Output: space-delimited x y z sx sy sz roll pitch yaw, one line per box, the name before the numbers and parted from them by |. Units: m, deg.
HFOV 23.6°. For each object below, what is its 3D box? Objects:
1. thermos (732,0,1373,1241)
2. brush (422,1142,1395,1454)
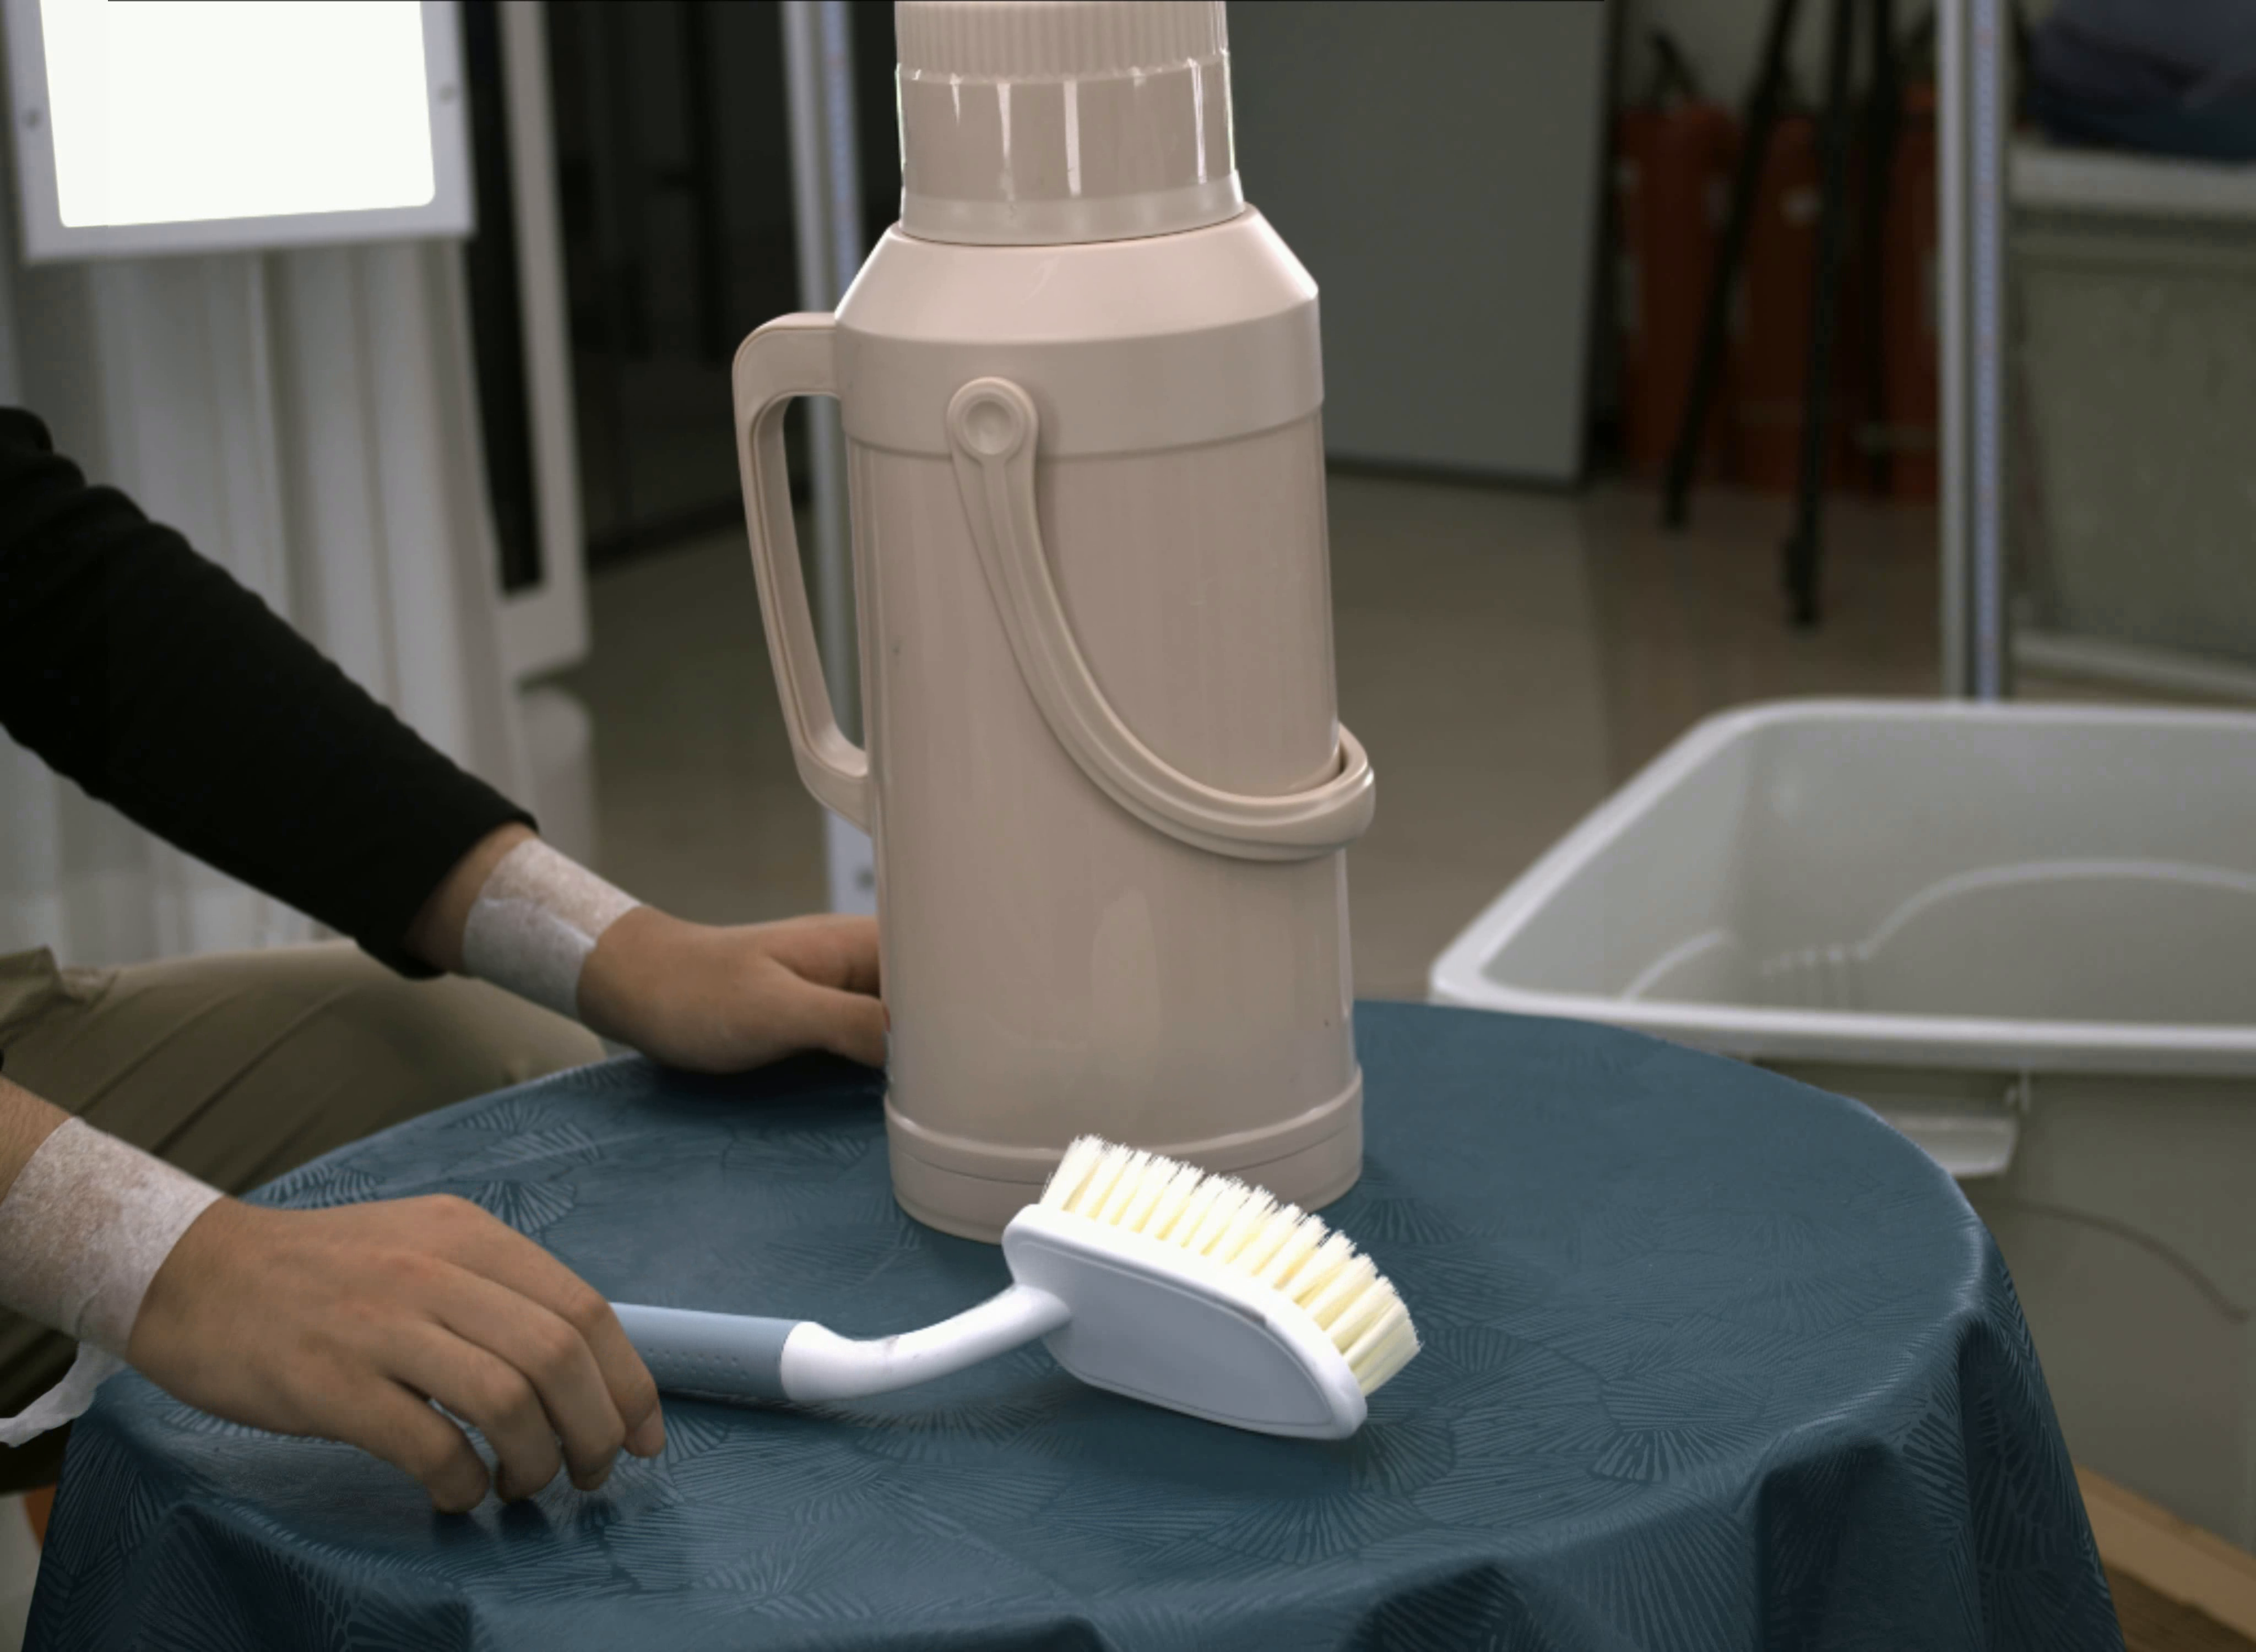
thermos | -0.024 -0.078 1.749 0.206 0.411 0.174 1 16 19
brush | -0.065 0.132 1.595 0.327 0.084 0.083 3 3 31
